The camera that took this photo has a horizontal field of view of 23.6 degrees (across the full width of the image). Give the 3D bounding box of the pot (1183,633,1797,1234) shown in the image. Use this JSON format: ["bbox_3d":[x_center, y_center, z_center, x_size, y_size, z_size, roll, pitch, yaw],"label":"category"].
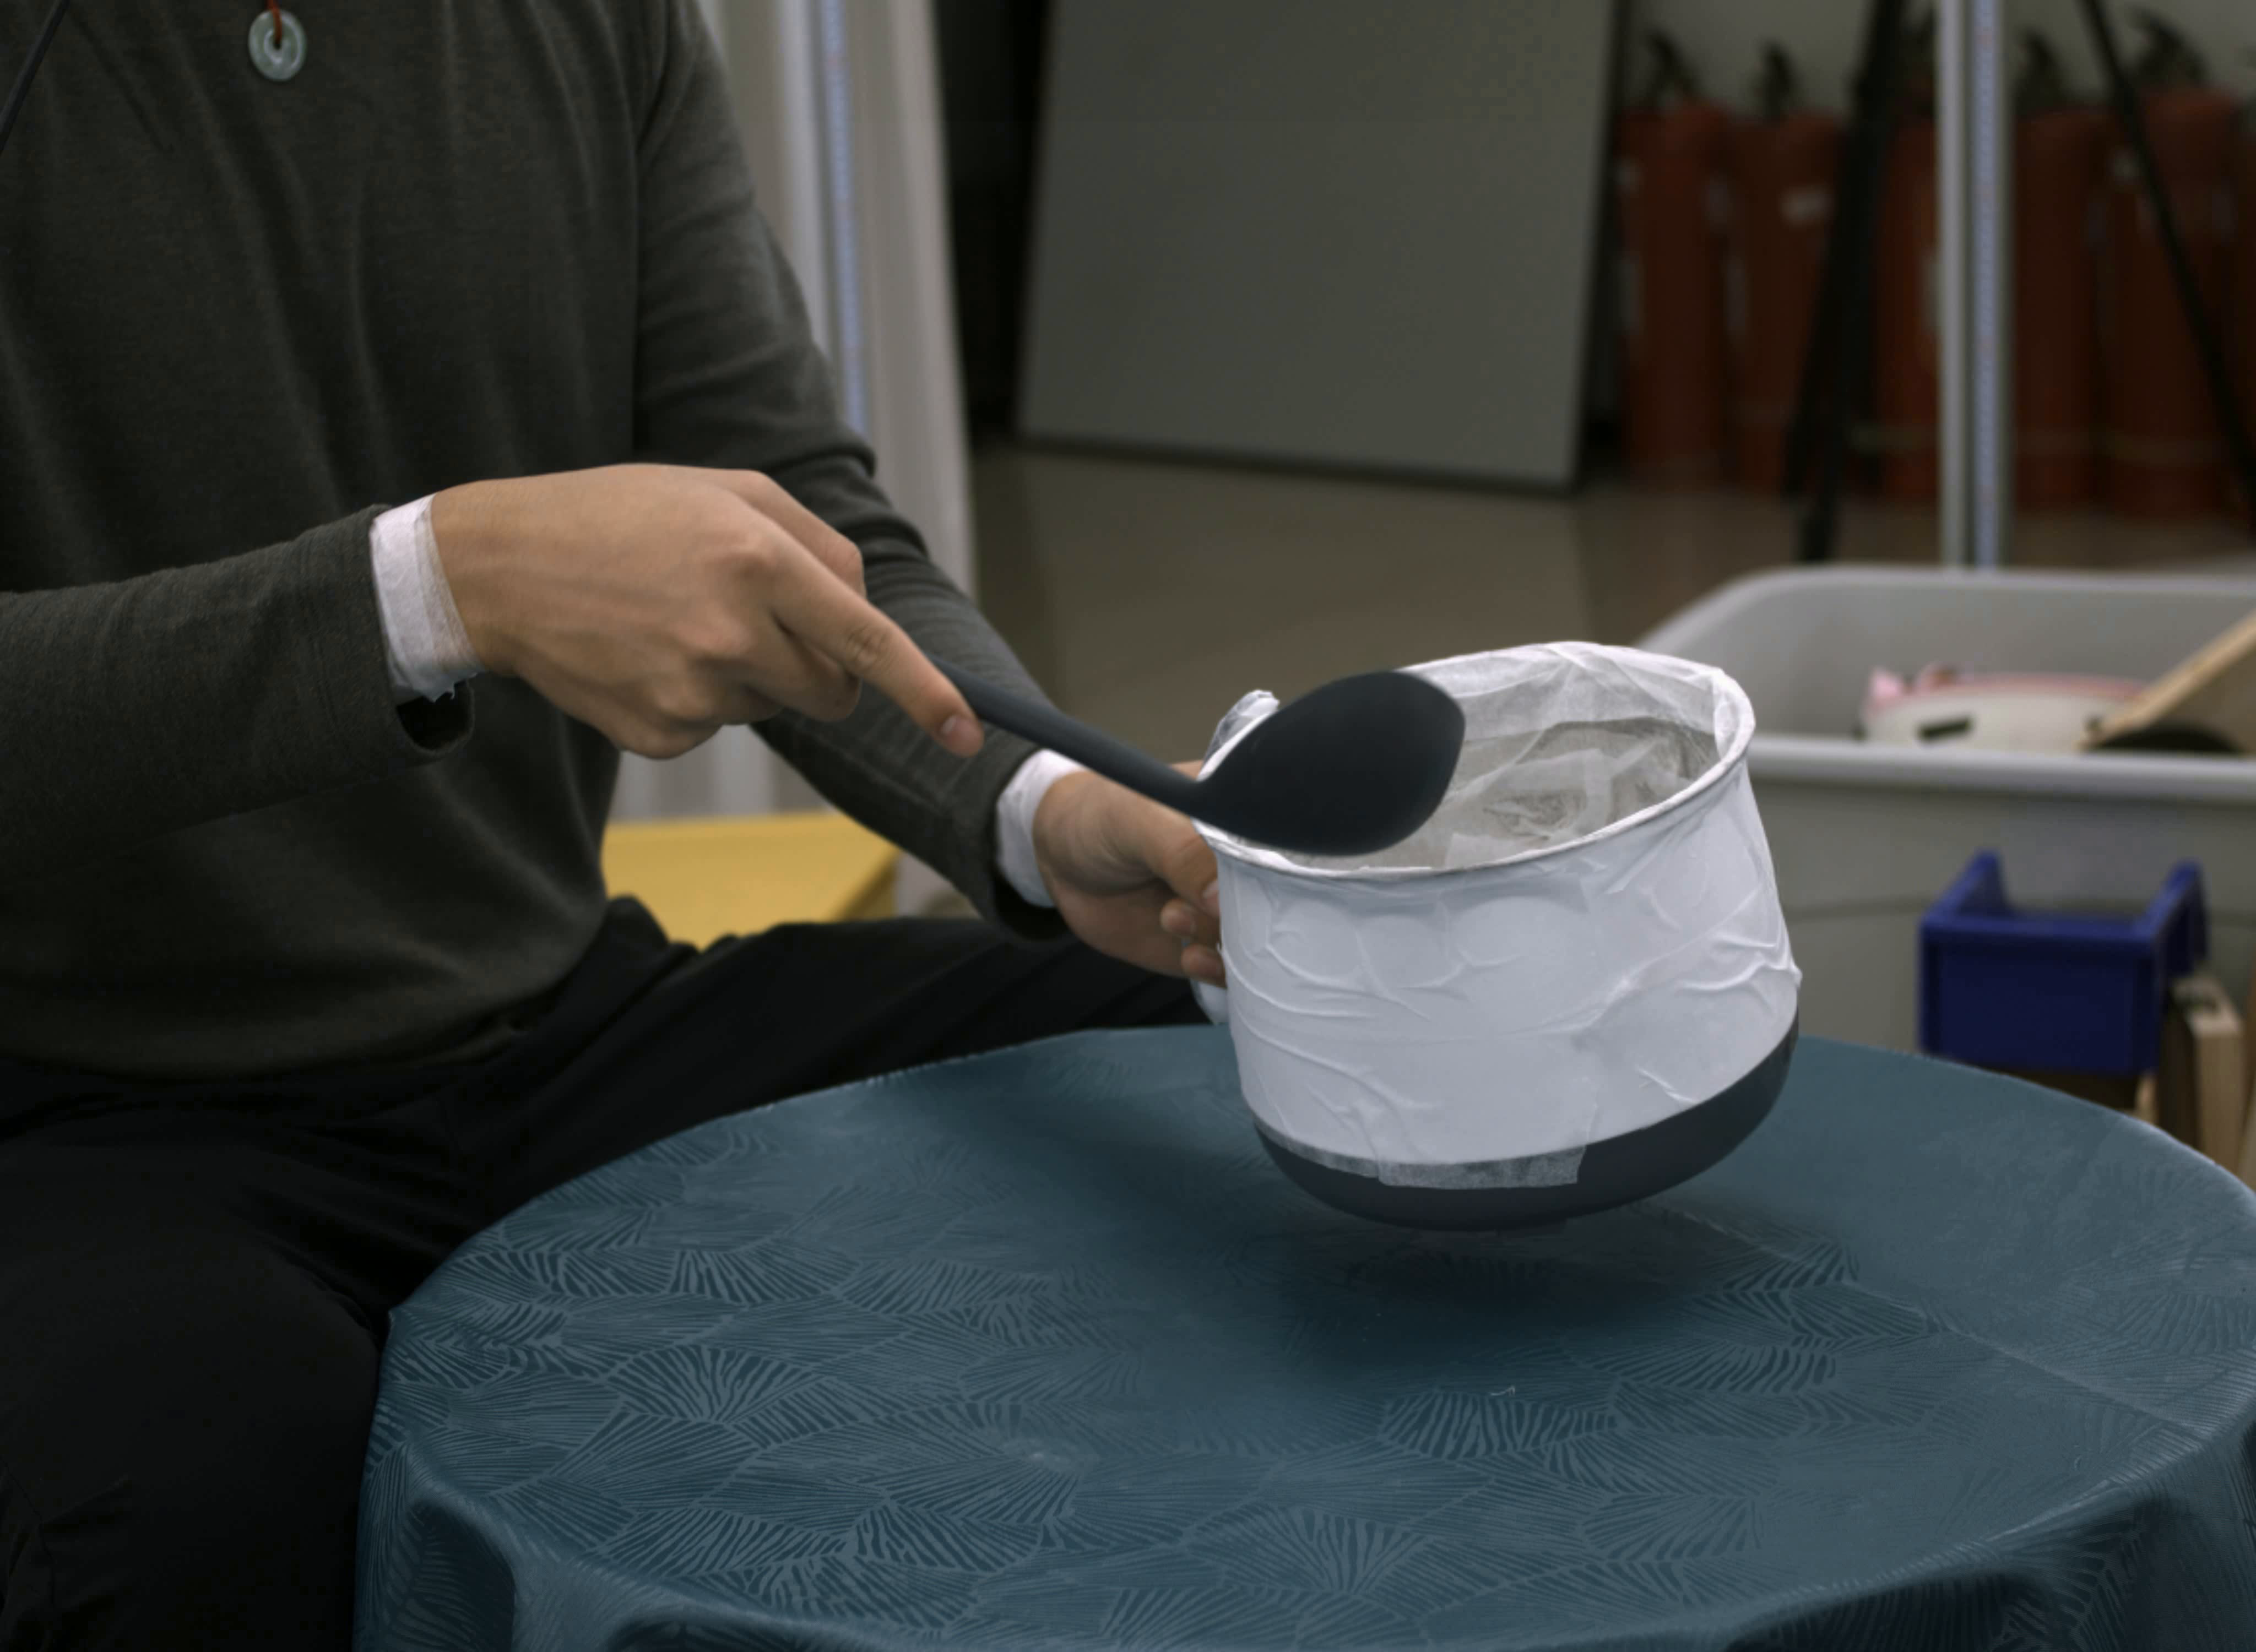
[{"bbox_3d":[0.097,0.029,1.684,0.175,0.137,0.236,-25,25,-35],"label":"pot"}]

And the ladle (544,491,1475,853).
[{"bbox_3d":[-0.041,-0.064,1.592,0.316,0.064,0.085,24,-10,29],"label":"ladle"}]
